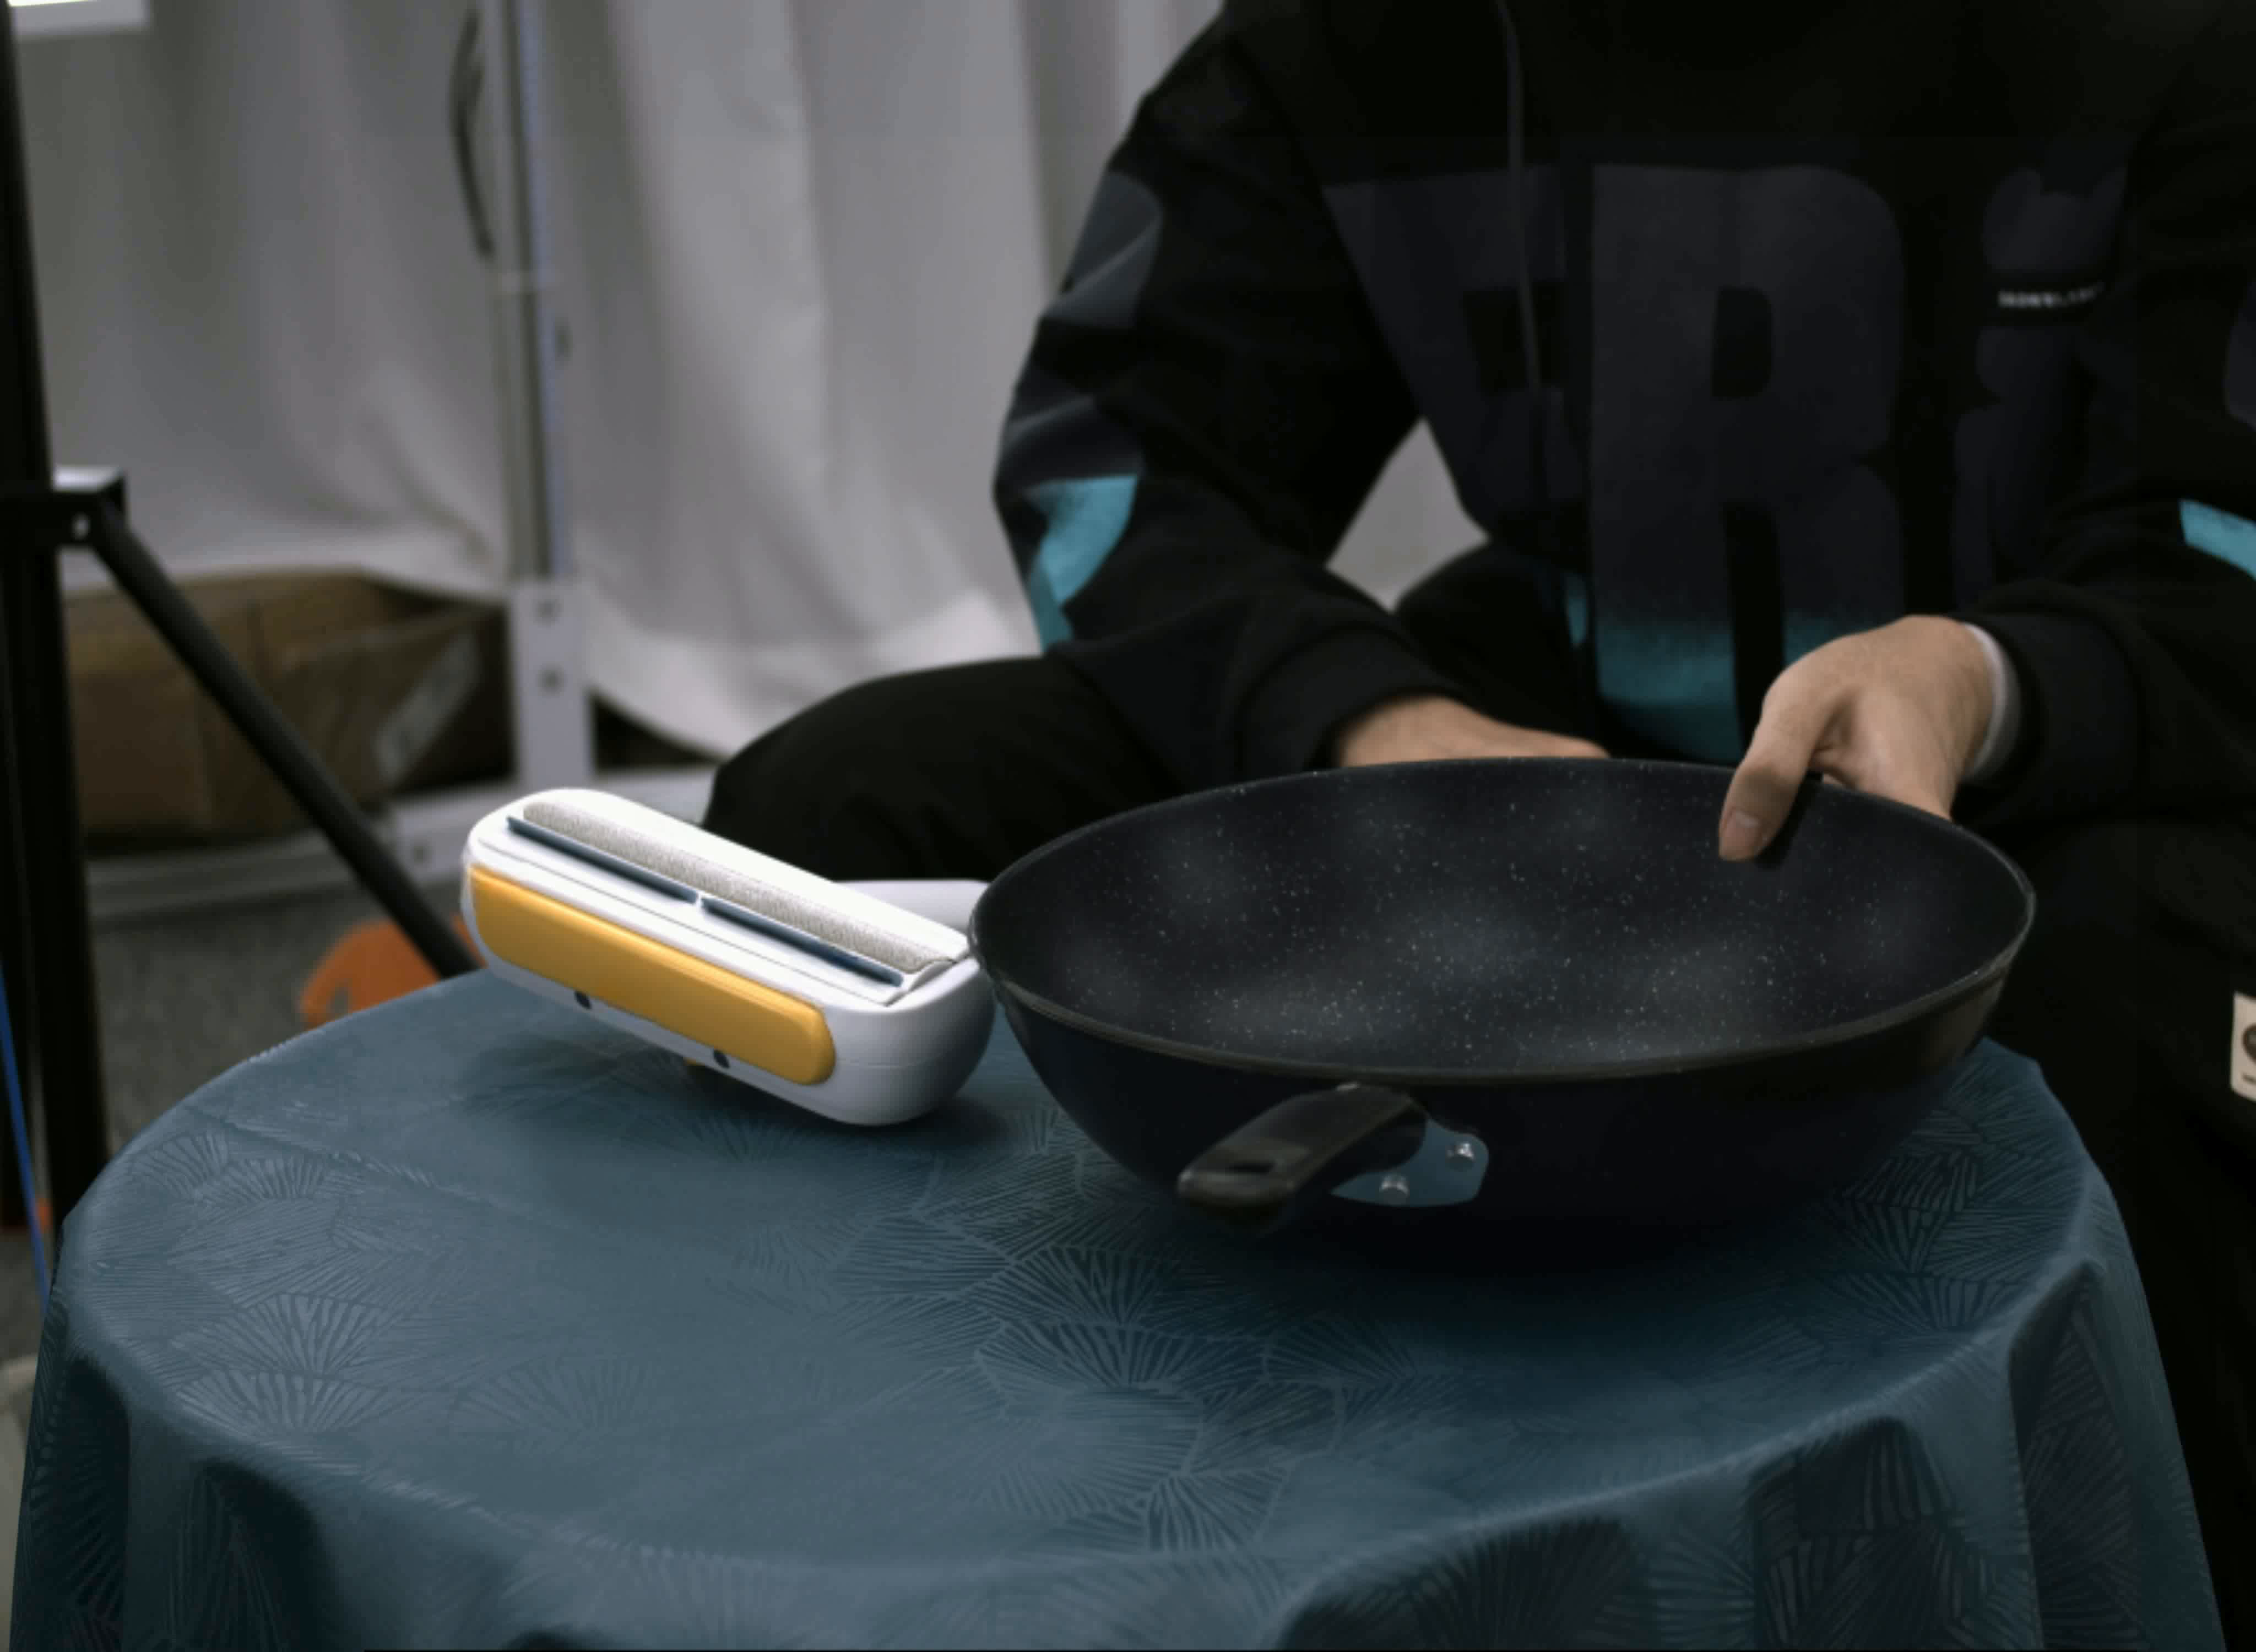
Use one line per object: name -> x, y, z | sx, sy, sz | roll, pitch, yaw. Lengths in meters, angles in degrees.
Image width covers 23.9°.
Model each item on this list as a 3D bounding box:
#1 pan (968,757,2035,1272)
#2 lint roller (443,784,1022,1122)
pan -> 0.088, 0.074, 1.469 | 0.313, 0.111, 0.473 | 0, 16, 16
lint roller -> -0.096, 0.033, 1.716 | 0.197, 0.074, 0.188 | 17, 23, 38
